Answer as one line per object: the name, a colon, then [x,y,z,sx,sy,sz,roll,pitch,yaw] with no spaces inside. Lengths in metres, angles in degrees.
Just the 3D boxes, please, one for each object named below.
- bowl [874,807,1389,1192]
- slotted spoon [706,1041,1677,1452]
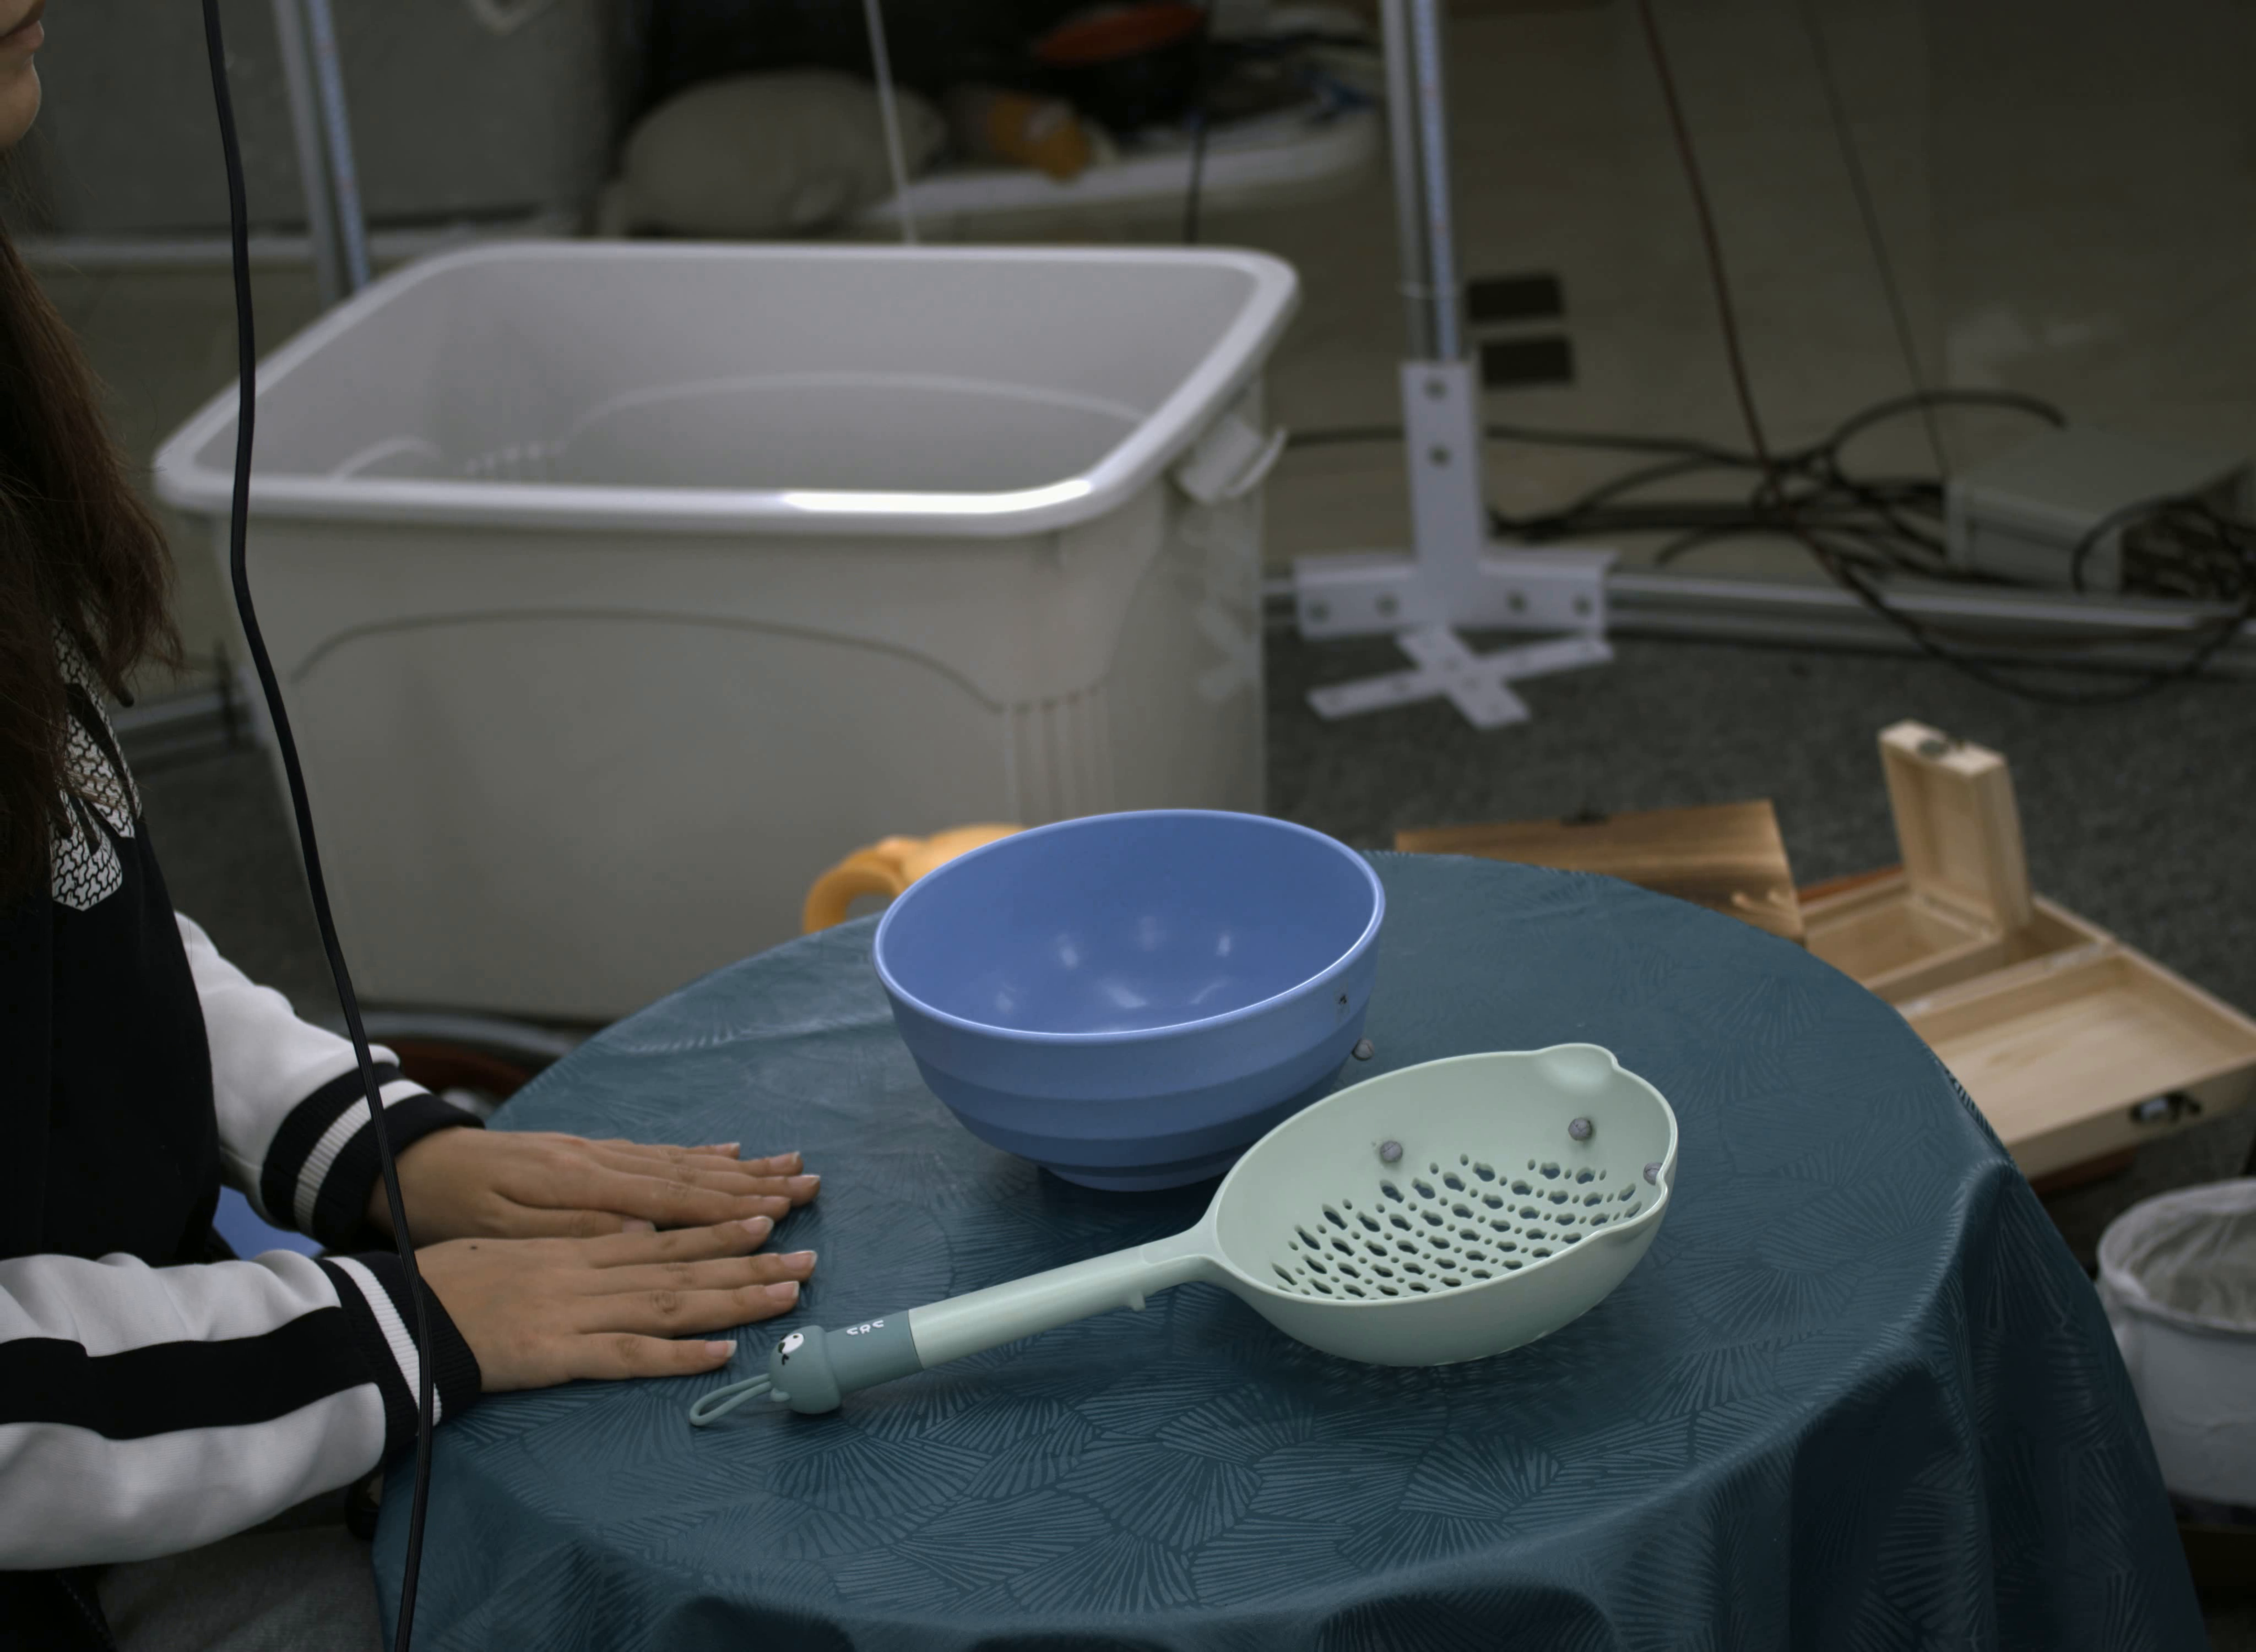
bowl: [0.005,0.077,2.166,0.196,0.097,0.193,-5,26,3]
slotted spoon: [0.021,0.162,2.024,0.358,0.076,0.167,-9,24,-1]
